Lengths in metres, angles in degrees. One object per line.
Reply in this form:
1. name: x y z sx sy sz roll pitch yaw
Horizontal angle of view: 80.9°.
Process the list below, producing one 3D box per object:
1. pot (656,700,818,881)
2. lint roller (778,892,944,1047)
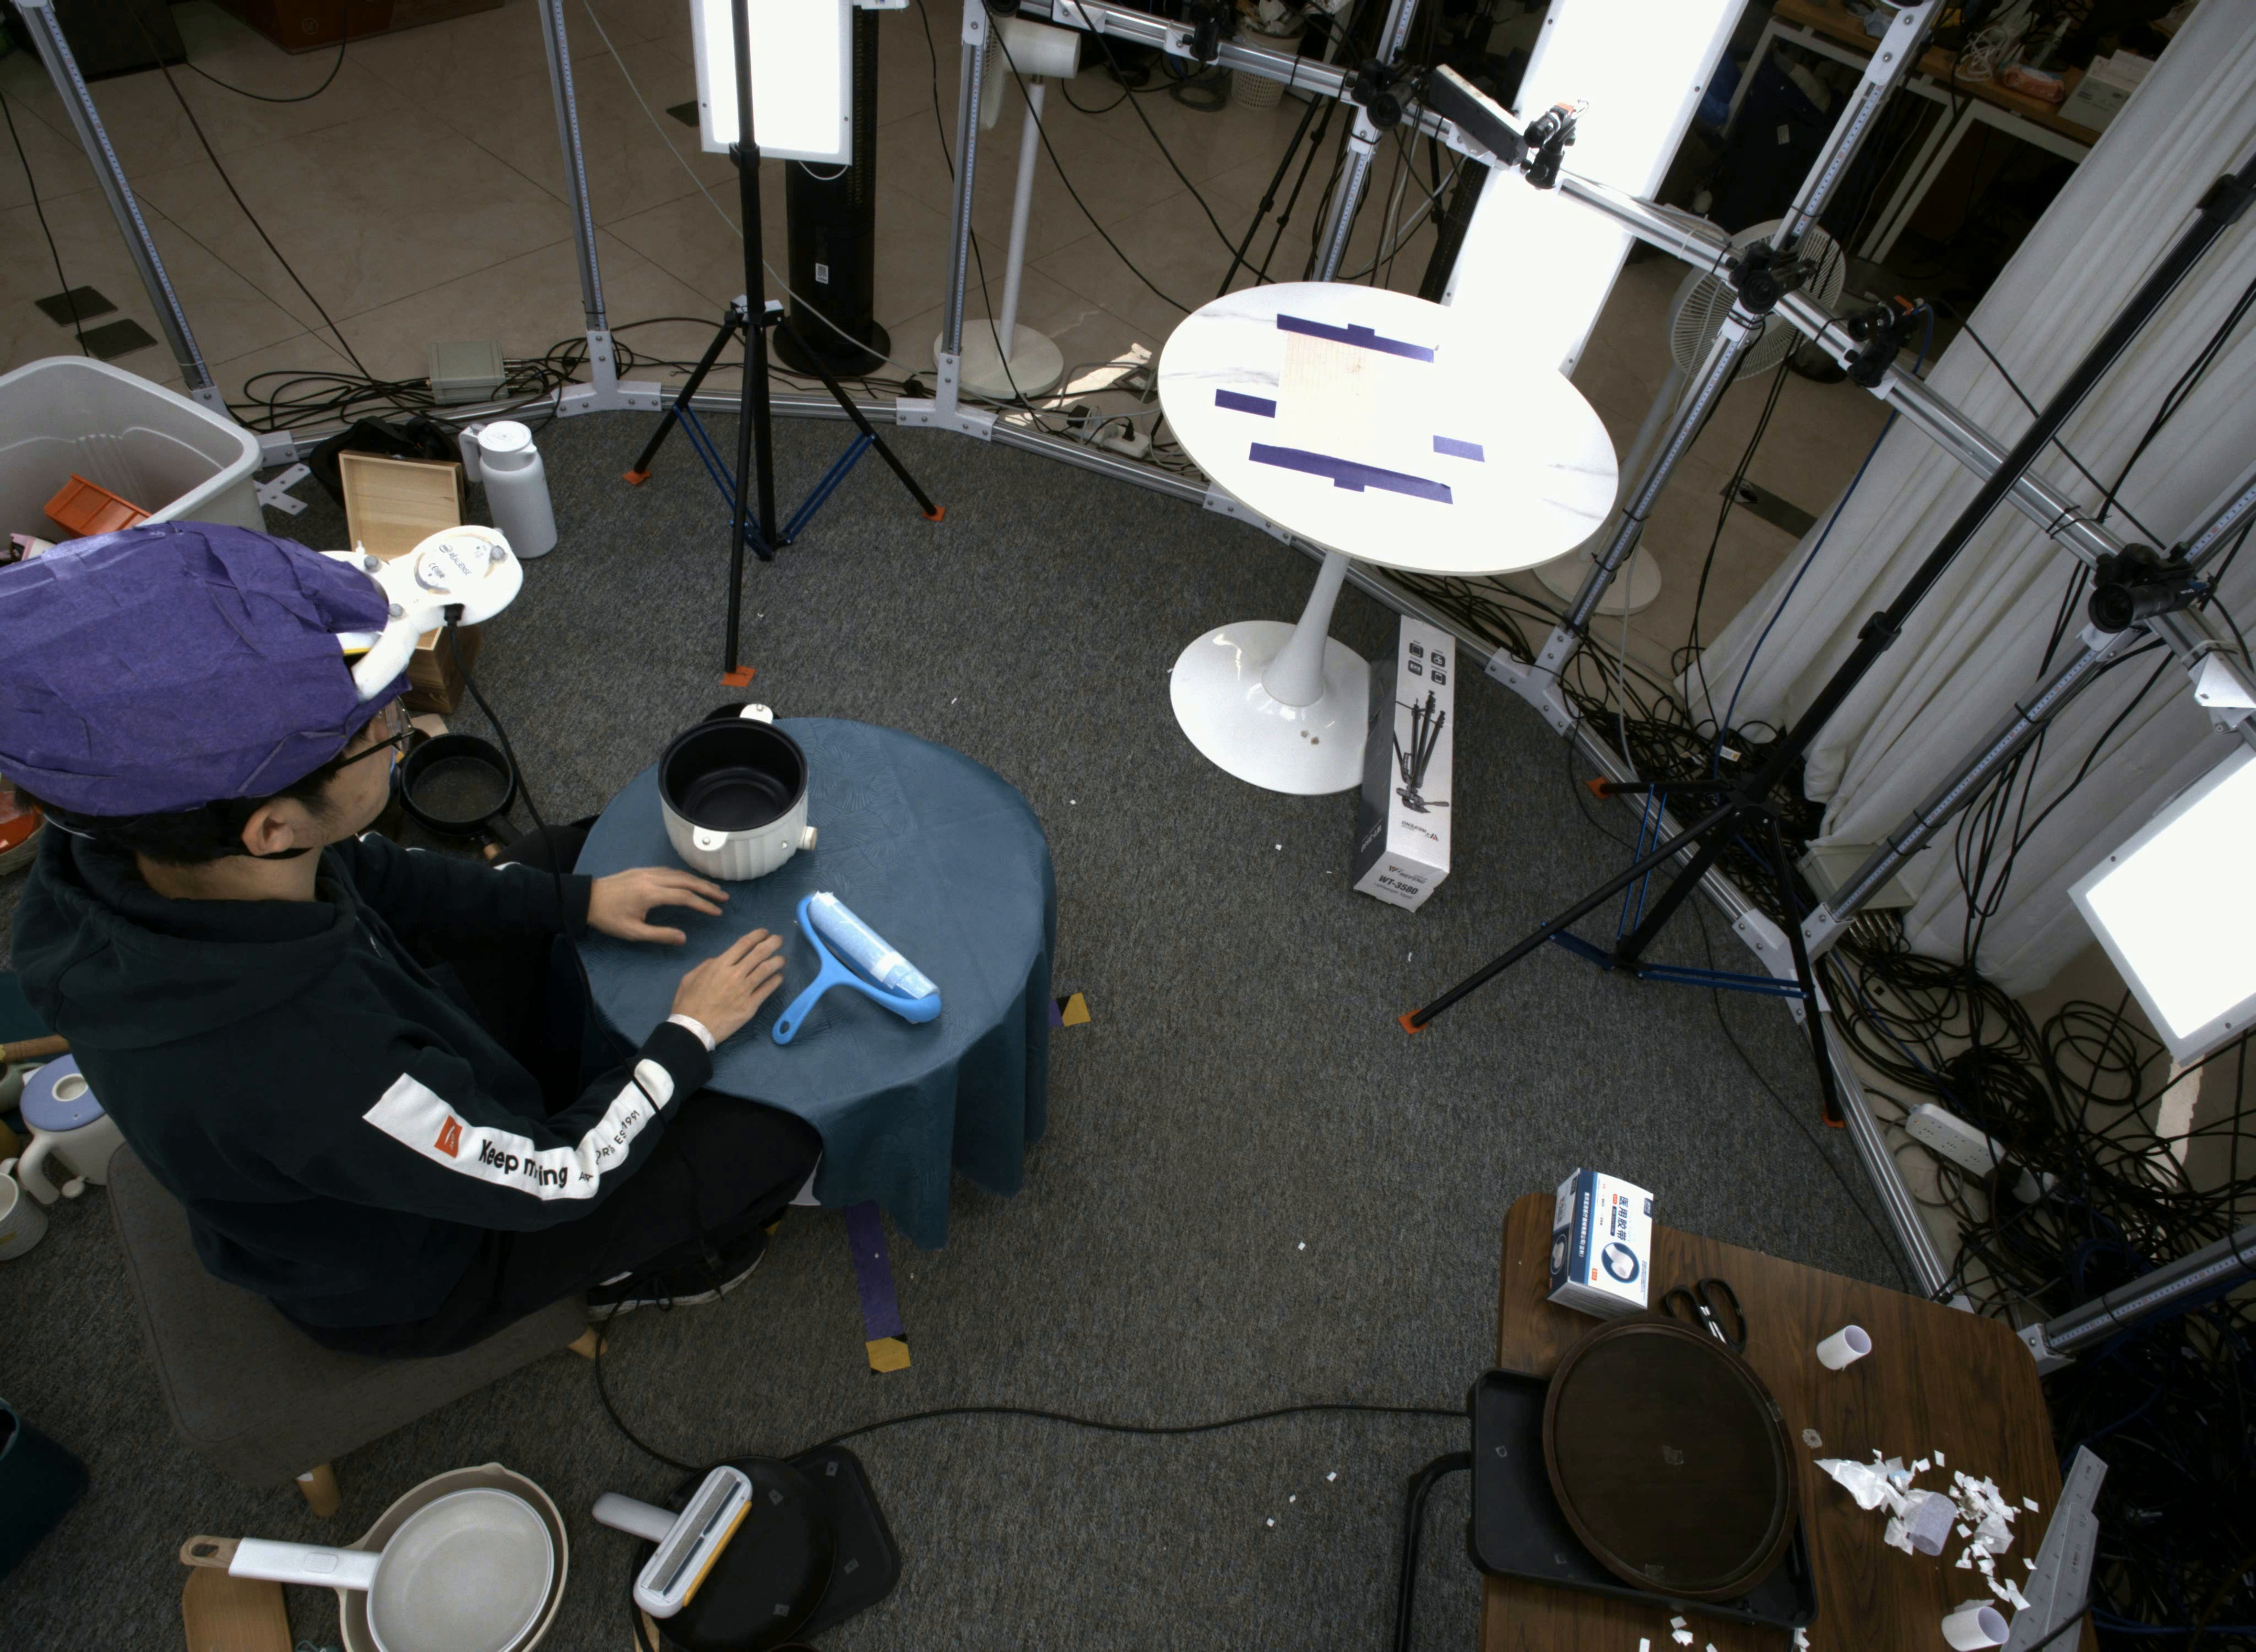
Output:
1. pot: -0.494 -0.029 1.643 0.189 0.146 0.237 9 53 -4
2. lint roller: -0.352 0.190 1.572 0.225 0.069 0.180 36 52 10
